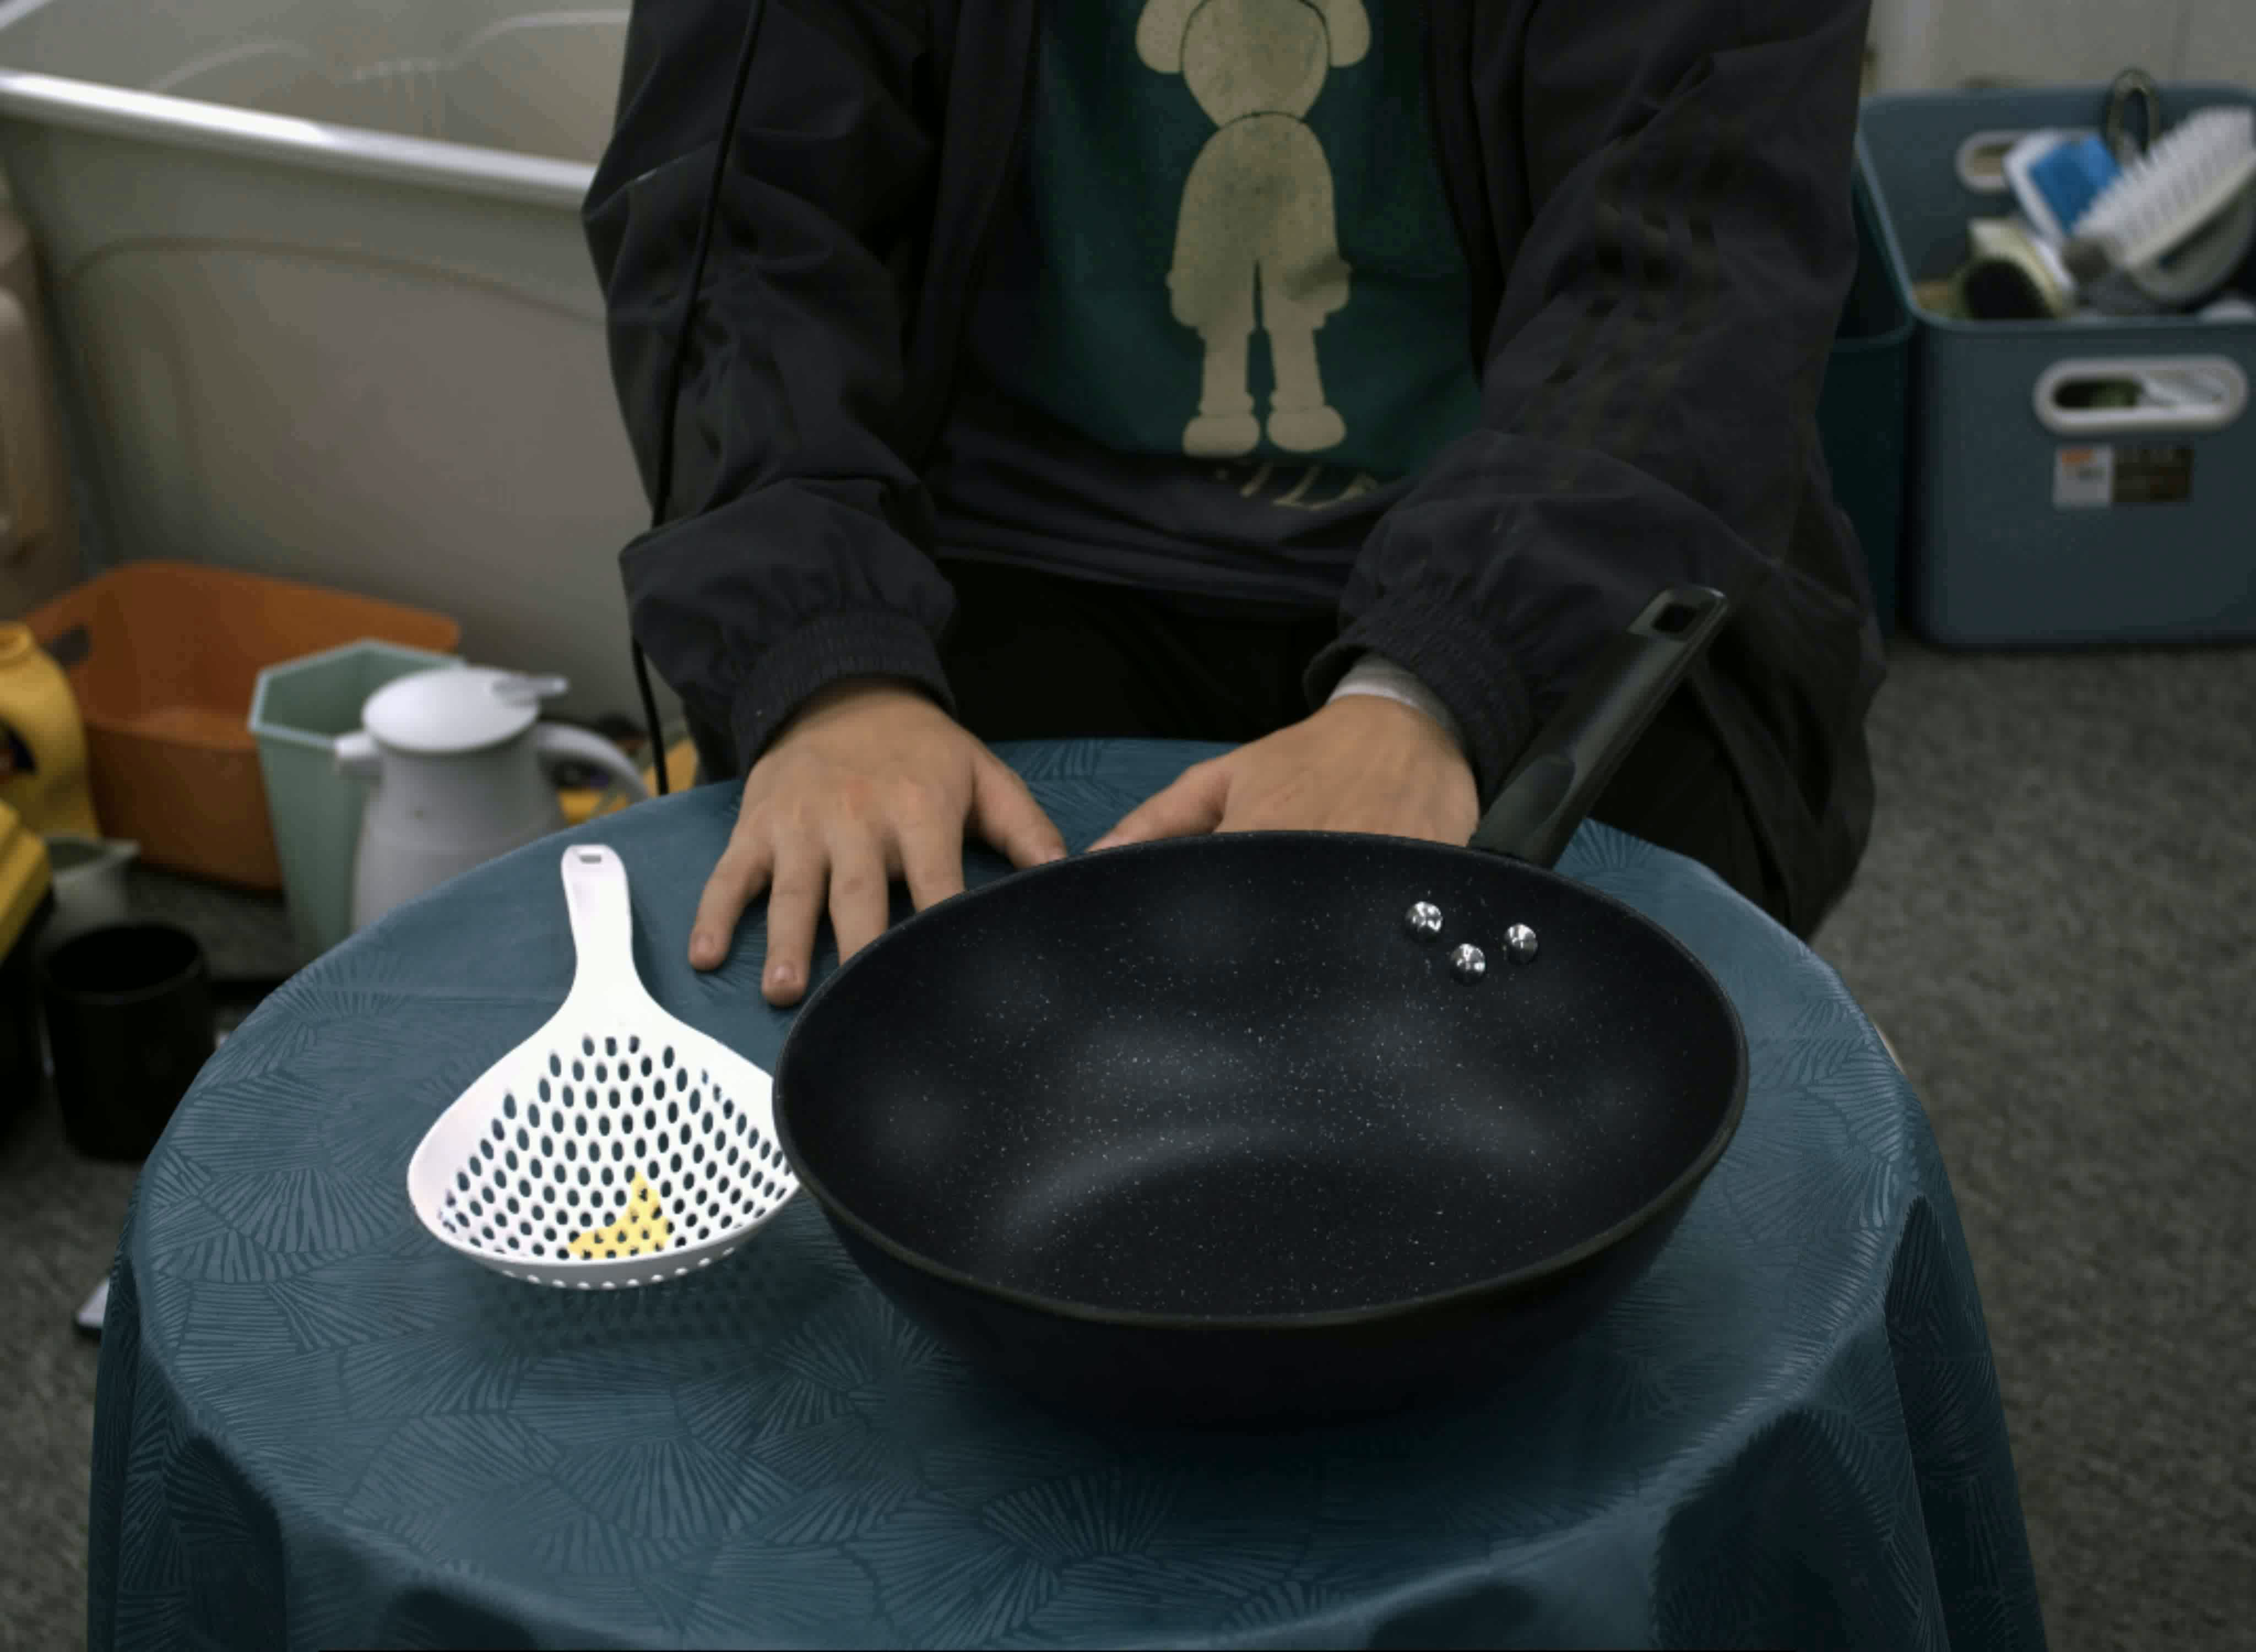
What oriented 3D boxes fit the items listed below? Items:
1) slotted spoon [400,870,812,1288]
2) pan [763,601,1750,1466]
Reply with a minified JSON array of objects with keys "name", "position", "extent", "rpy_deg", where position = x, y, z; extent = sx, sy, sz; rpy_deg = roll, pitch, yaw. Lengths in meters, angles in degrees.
[{"name":"slotted spoon","position":[-0.178,0.074,1.924],"extent":[0.136,0.050,0.352],"rpy_deg":[-7,27,-4]},{"name":"pan","position":[0.083,0.069,1.839],"extent":[0.308,0.110,0.484],"rpy_deg":[14,32,27]}]
